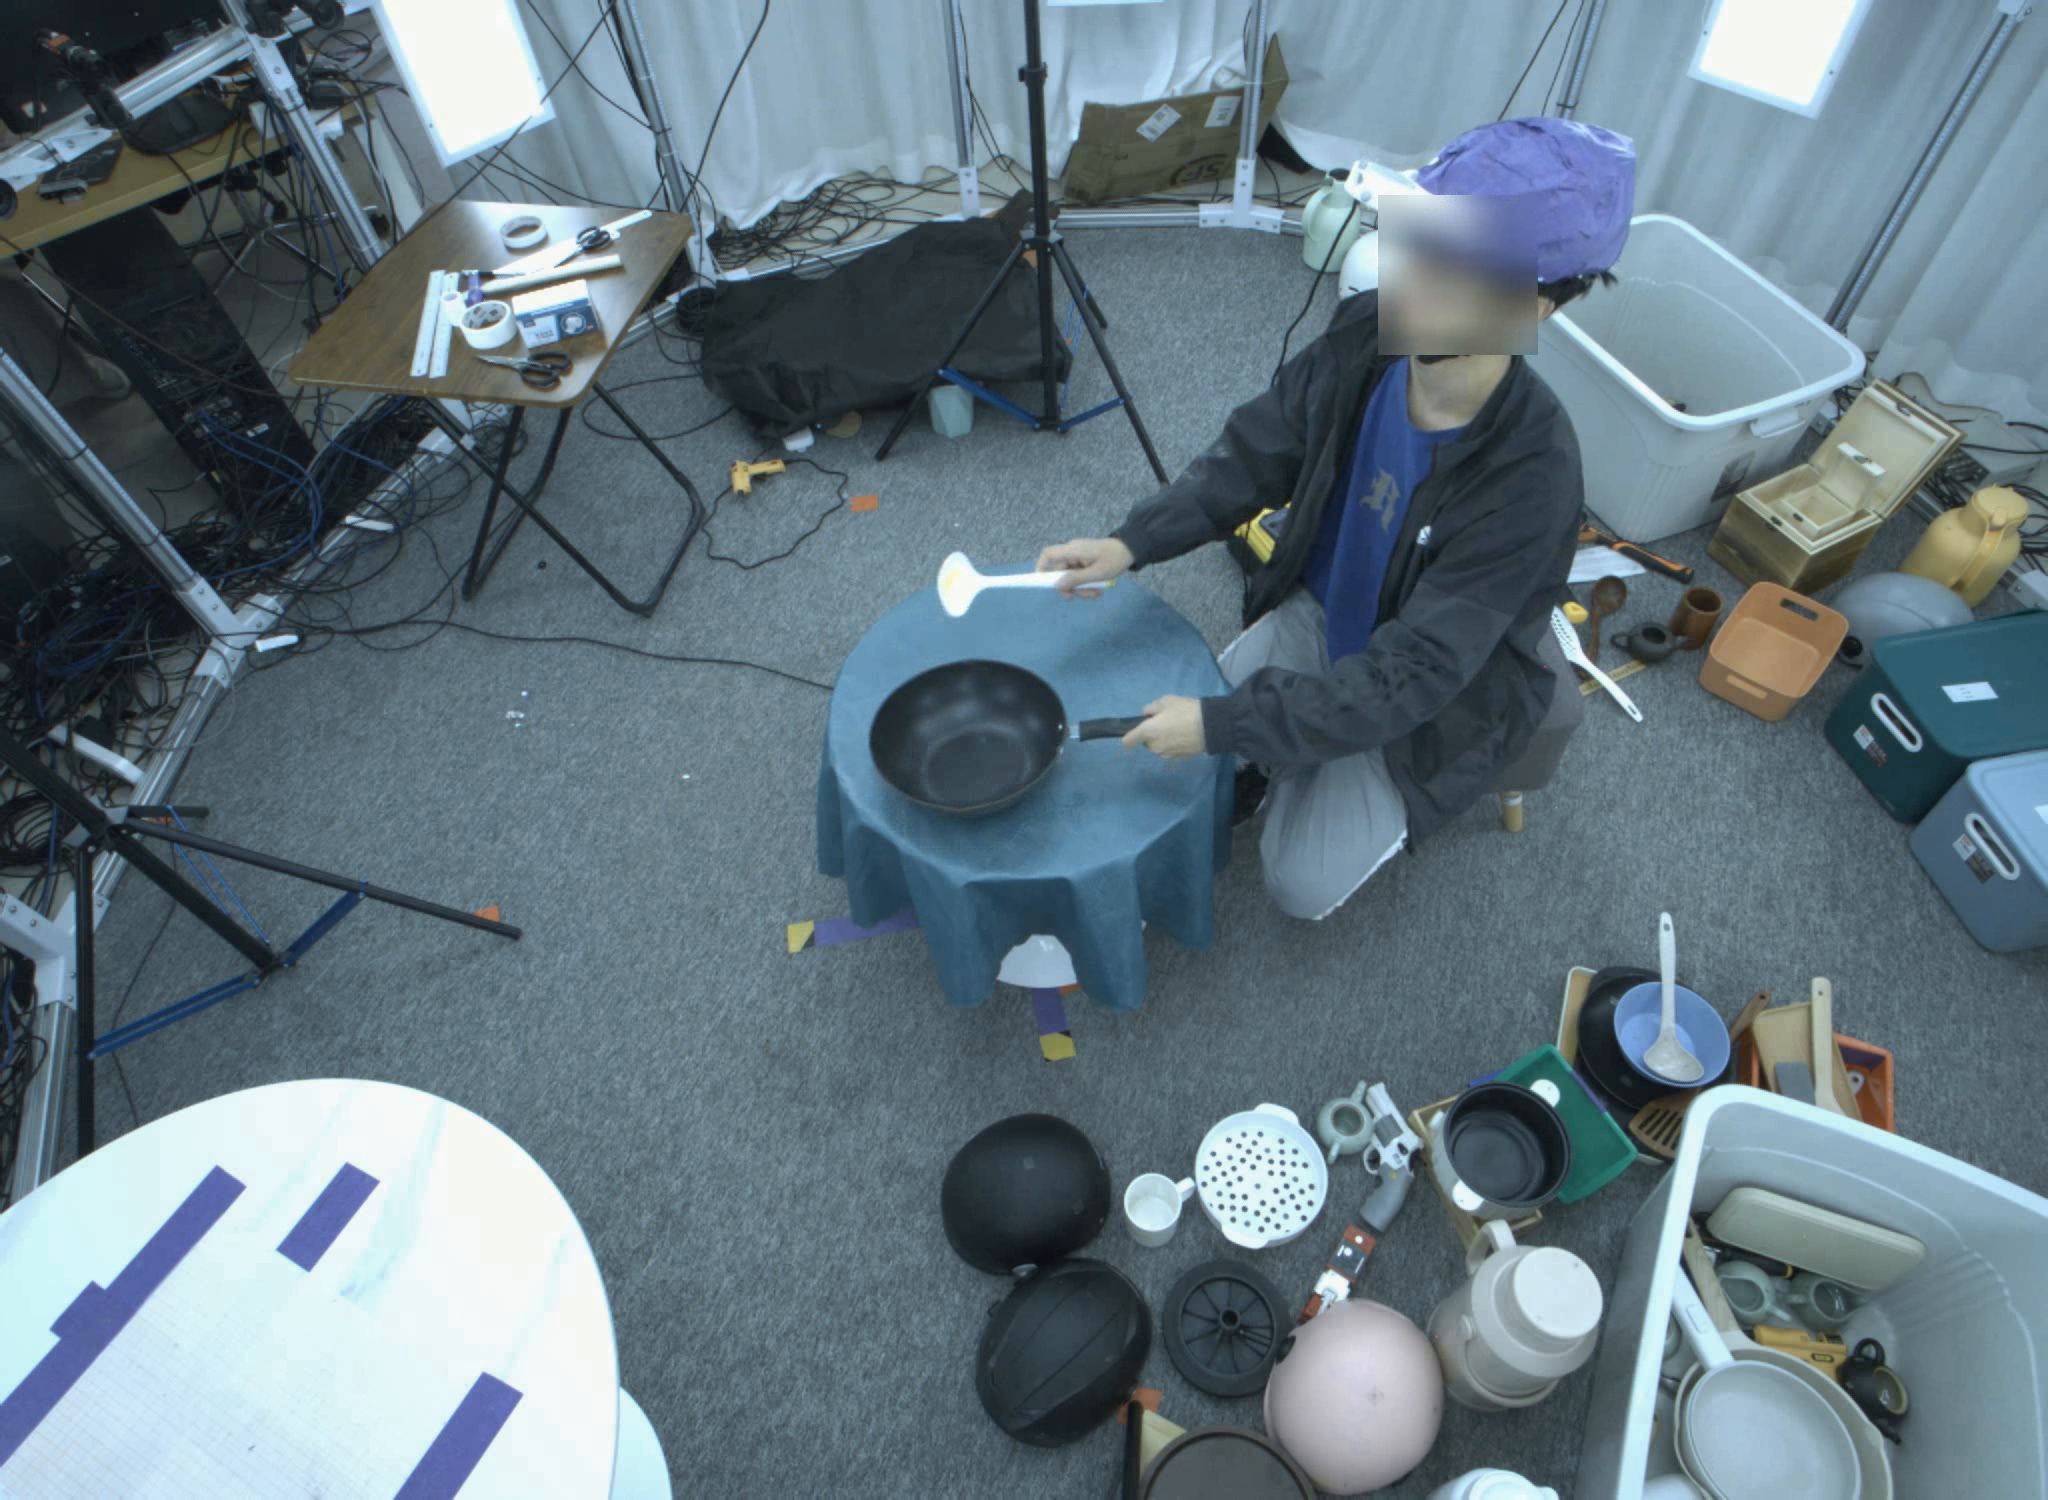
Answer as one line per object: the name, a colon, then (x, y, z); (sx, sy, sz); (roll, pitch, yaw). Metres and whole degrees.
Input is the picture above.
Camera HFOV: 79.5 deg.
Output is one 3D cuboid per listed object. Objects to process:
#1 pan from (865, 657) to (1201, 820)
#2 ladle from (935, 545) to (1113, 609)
pan: (0.013, -0.005, 1.720); (0.462, 0.088, 0.285); (-1, 50, 3)
ladle: (0.003, -0.247, 1.772); (0.298, 0.068, 0.090); (-3, 97, -26)
